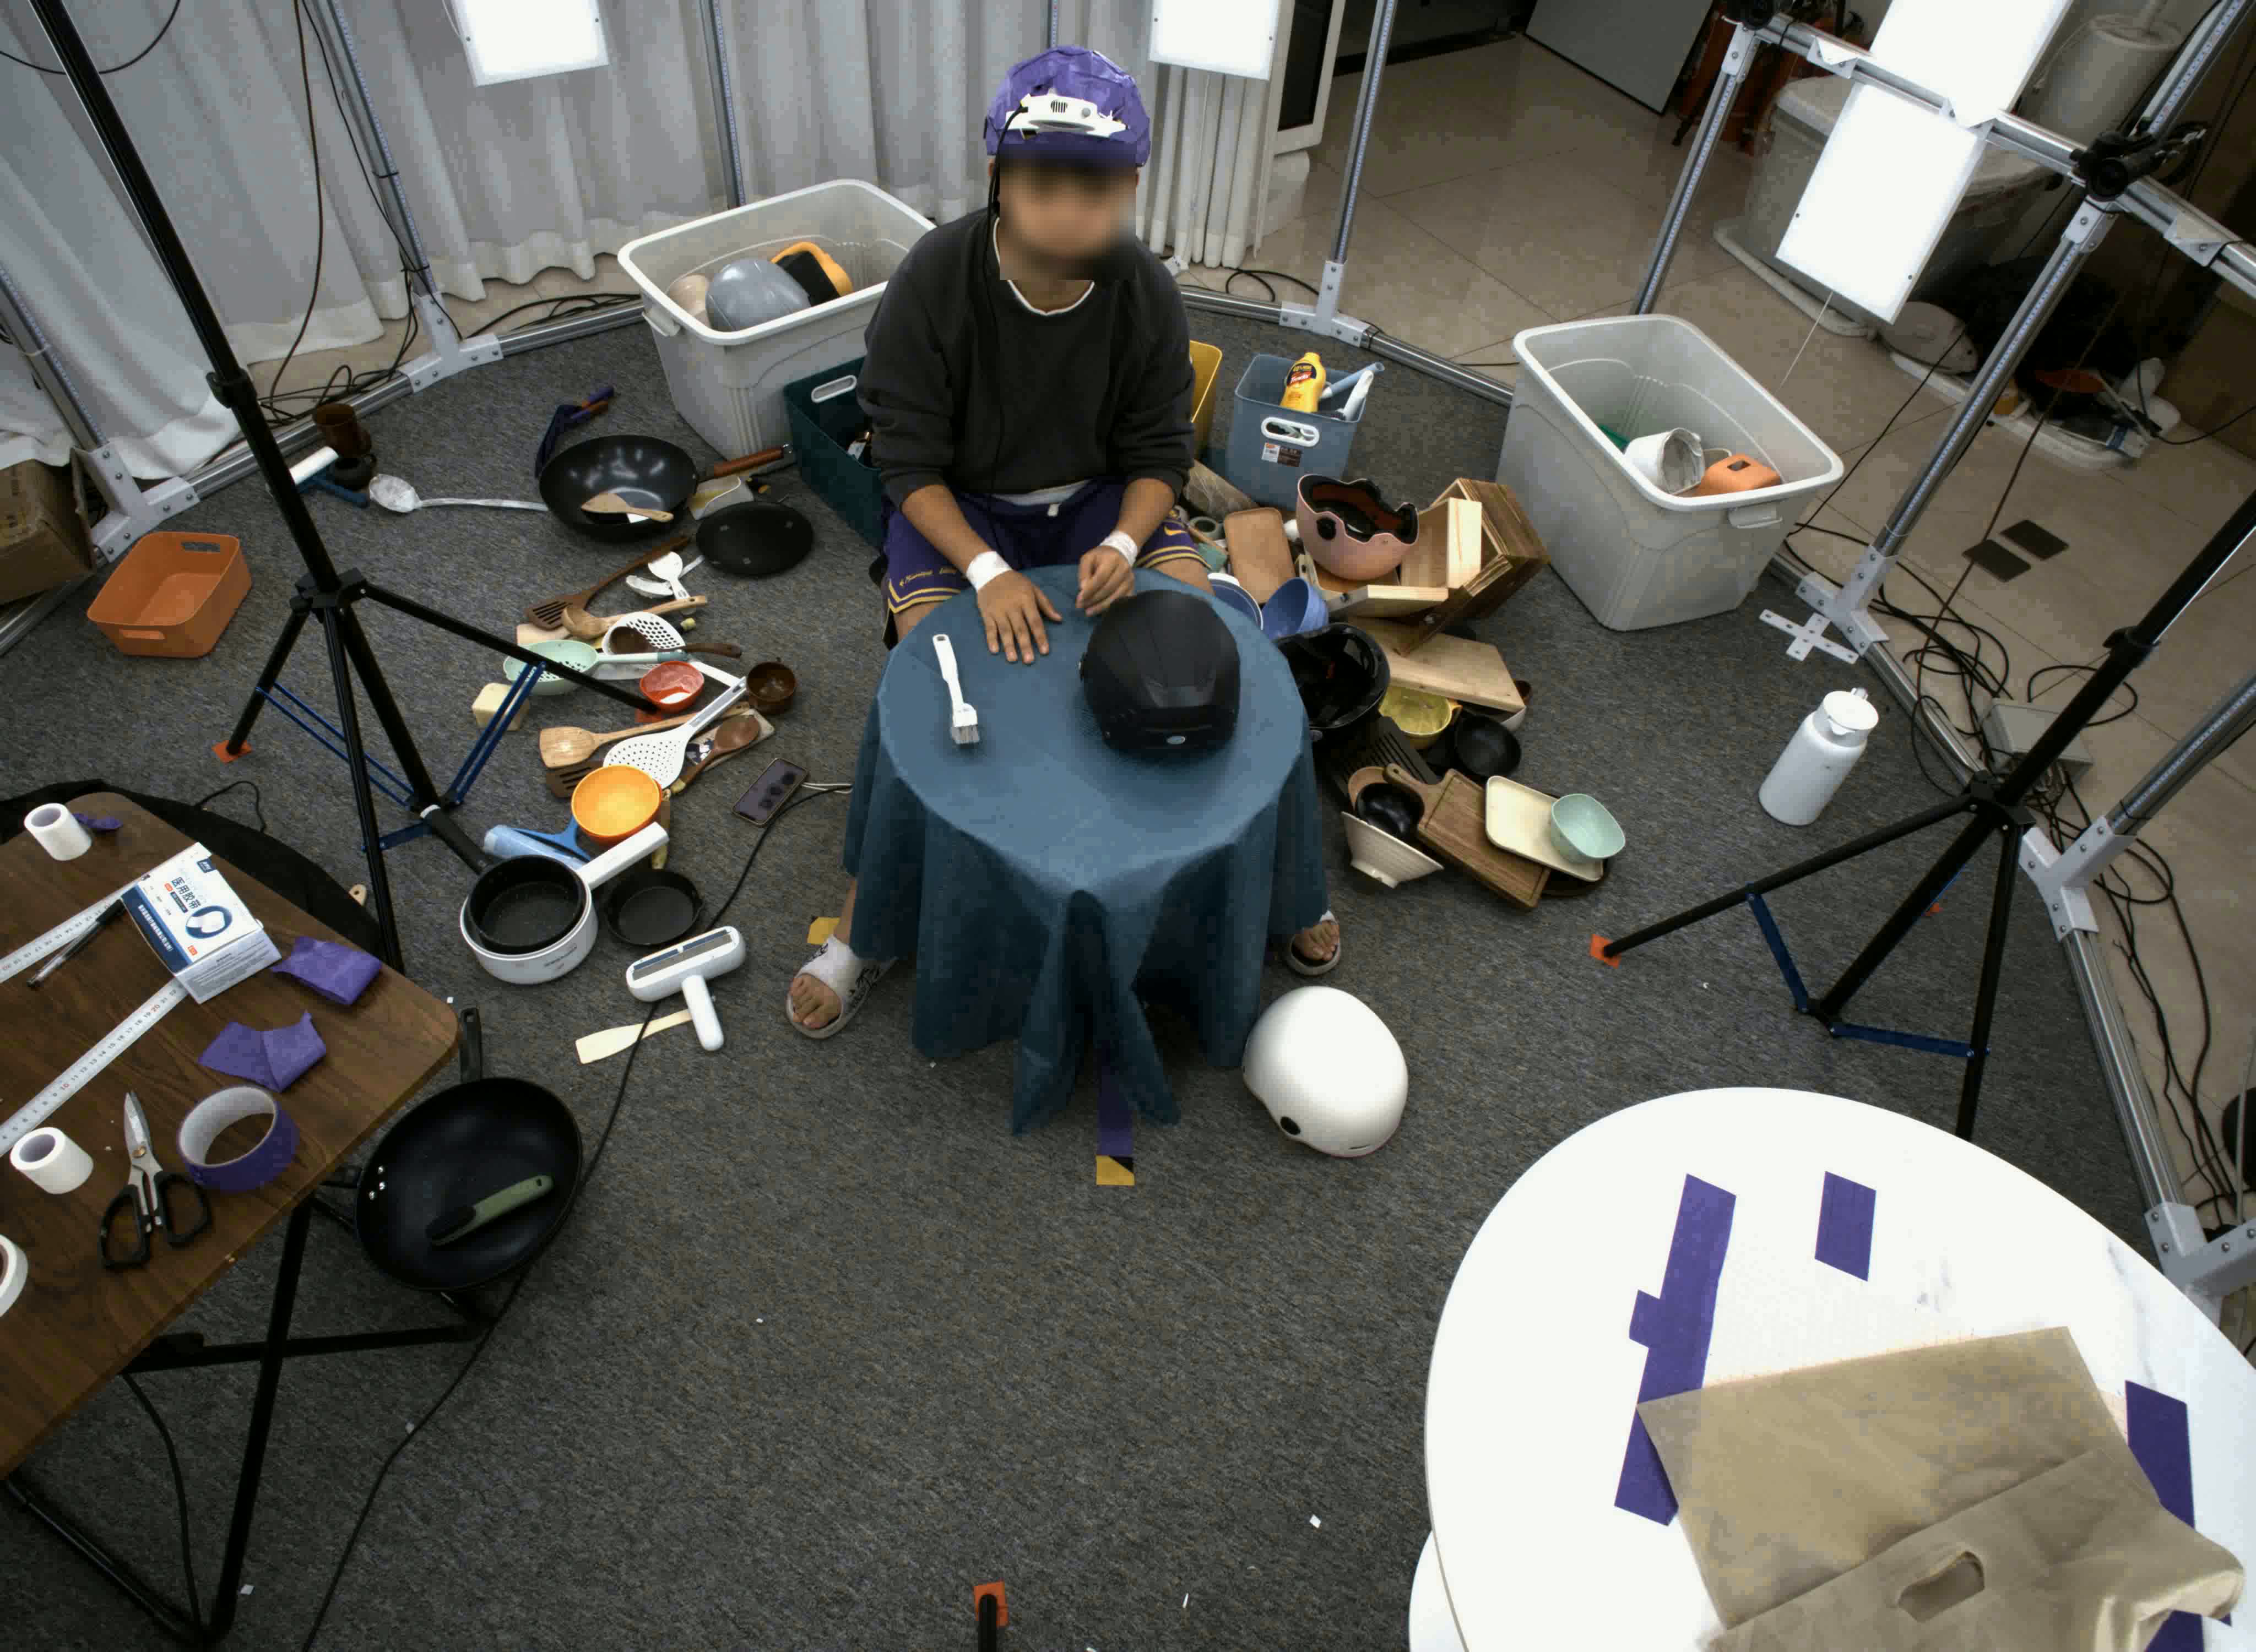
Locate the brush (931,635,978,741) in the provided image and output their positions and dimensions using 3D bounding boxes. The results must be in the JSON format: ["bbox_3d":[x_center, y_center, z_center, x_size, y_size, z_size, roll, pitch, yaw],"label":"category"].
[{"bbox_3d":[-0.245,-0.192,1.802,0.034,0.049,0.249,-10,38,-12],"label":"brush"}]

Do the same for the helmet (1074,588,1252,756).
[{"bbox_3d":[0.053,-0.232,1.769,0.246,0.168,0.283,-2,52,-7],"label":"helmet"}]
